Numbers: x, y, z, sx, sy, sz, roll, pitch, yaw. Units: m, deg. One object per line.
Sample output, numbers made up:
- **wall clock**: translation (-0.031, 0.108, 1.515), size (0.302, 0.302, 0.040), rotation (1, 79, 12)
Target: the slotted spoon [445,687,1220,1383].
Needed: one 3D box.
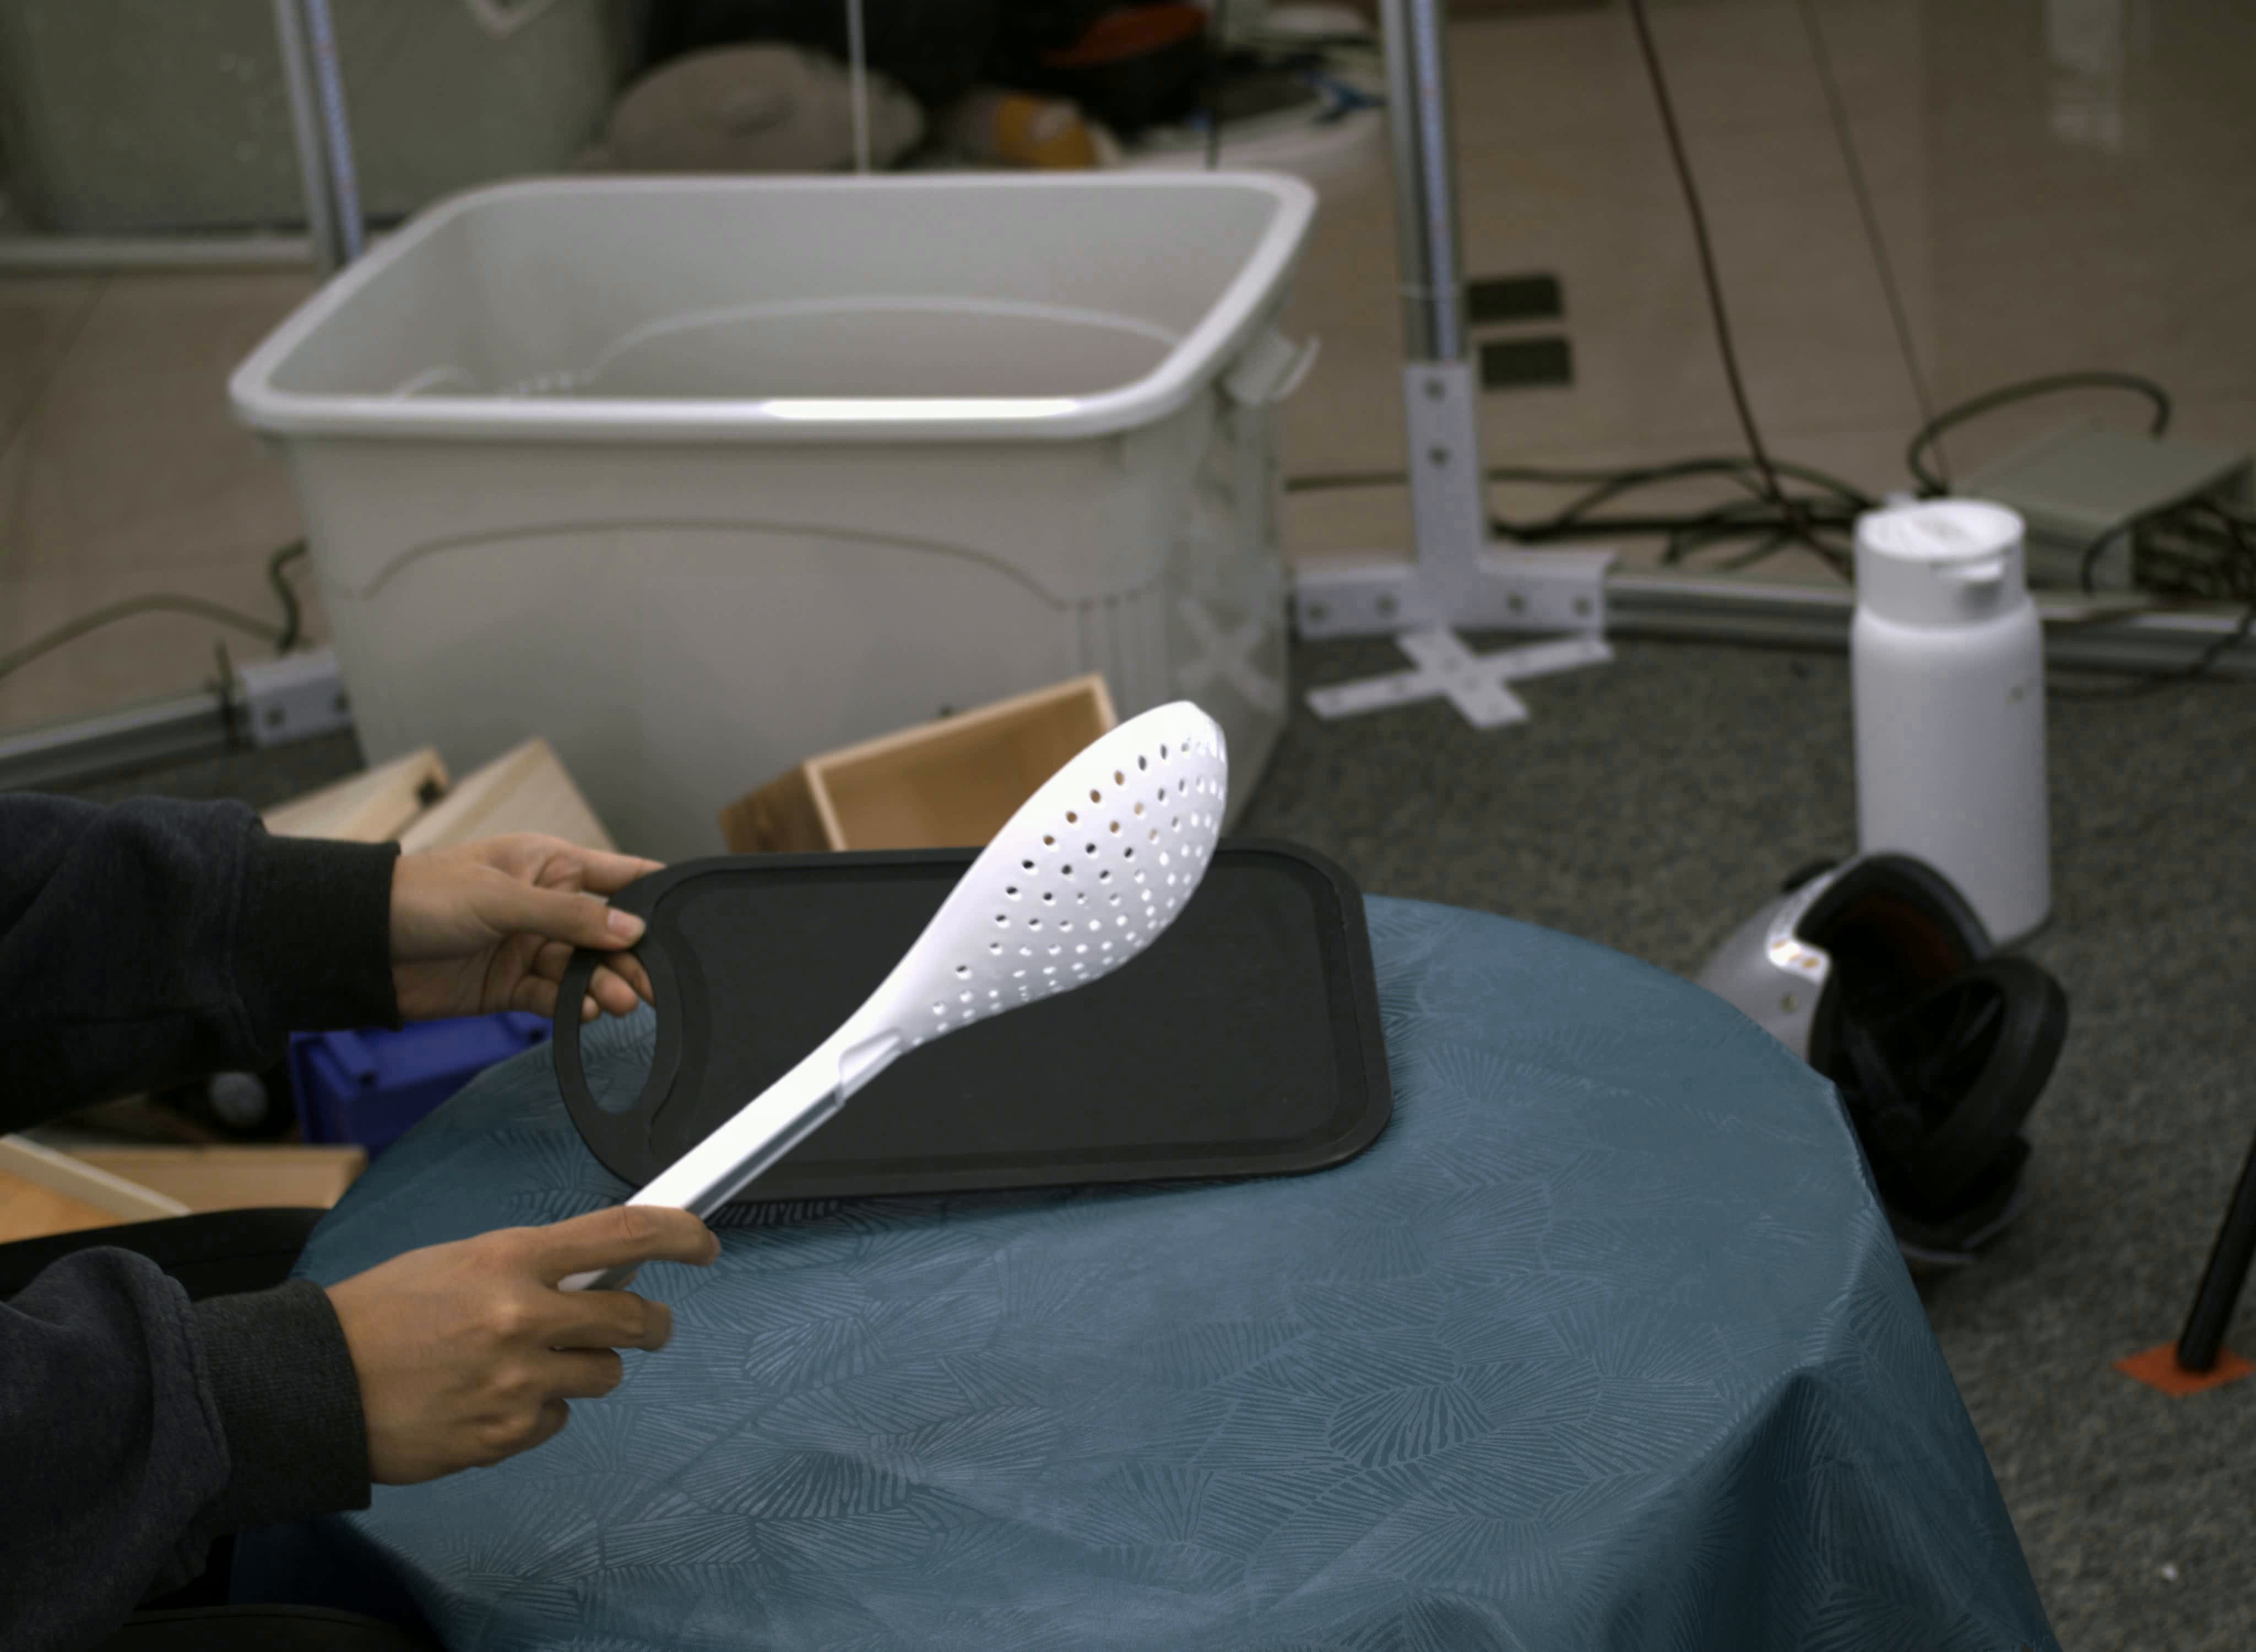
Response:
- **slotted spoon**: translation (-0.095, 0.074, 1.946), size (0.348, 0.138, 0.045), rotation (-35, 67, -14)

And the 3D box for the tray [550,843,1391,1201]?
- **tray**: translation (-0.063, 0.073, 2.216), size (0.325, 0.010, 0.207), rotation (-2, 38, -2)
